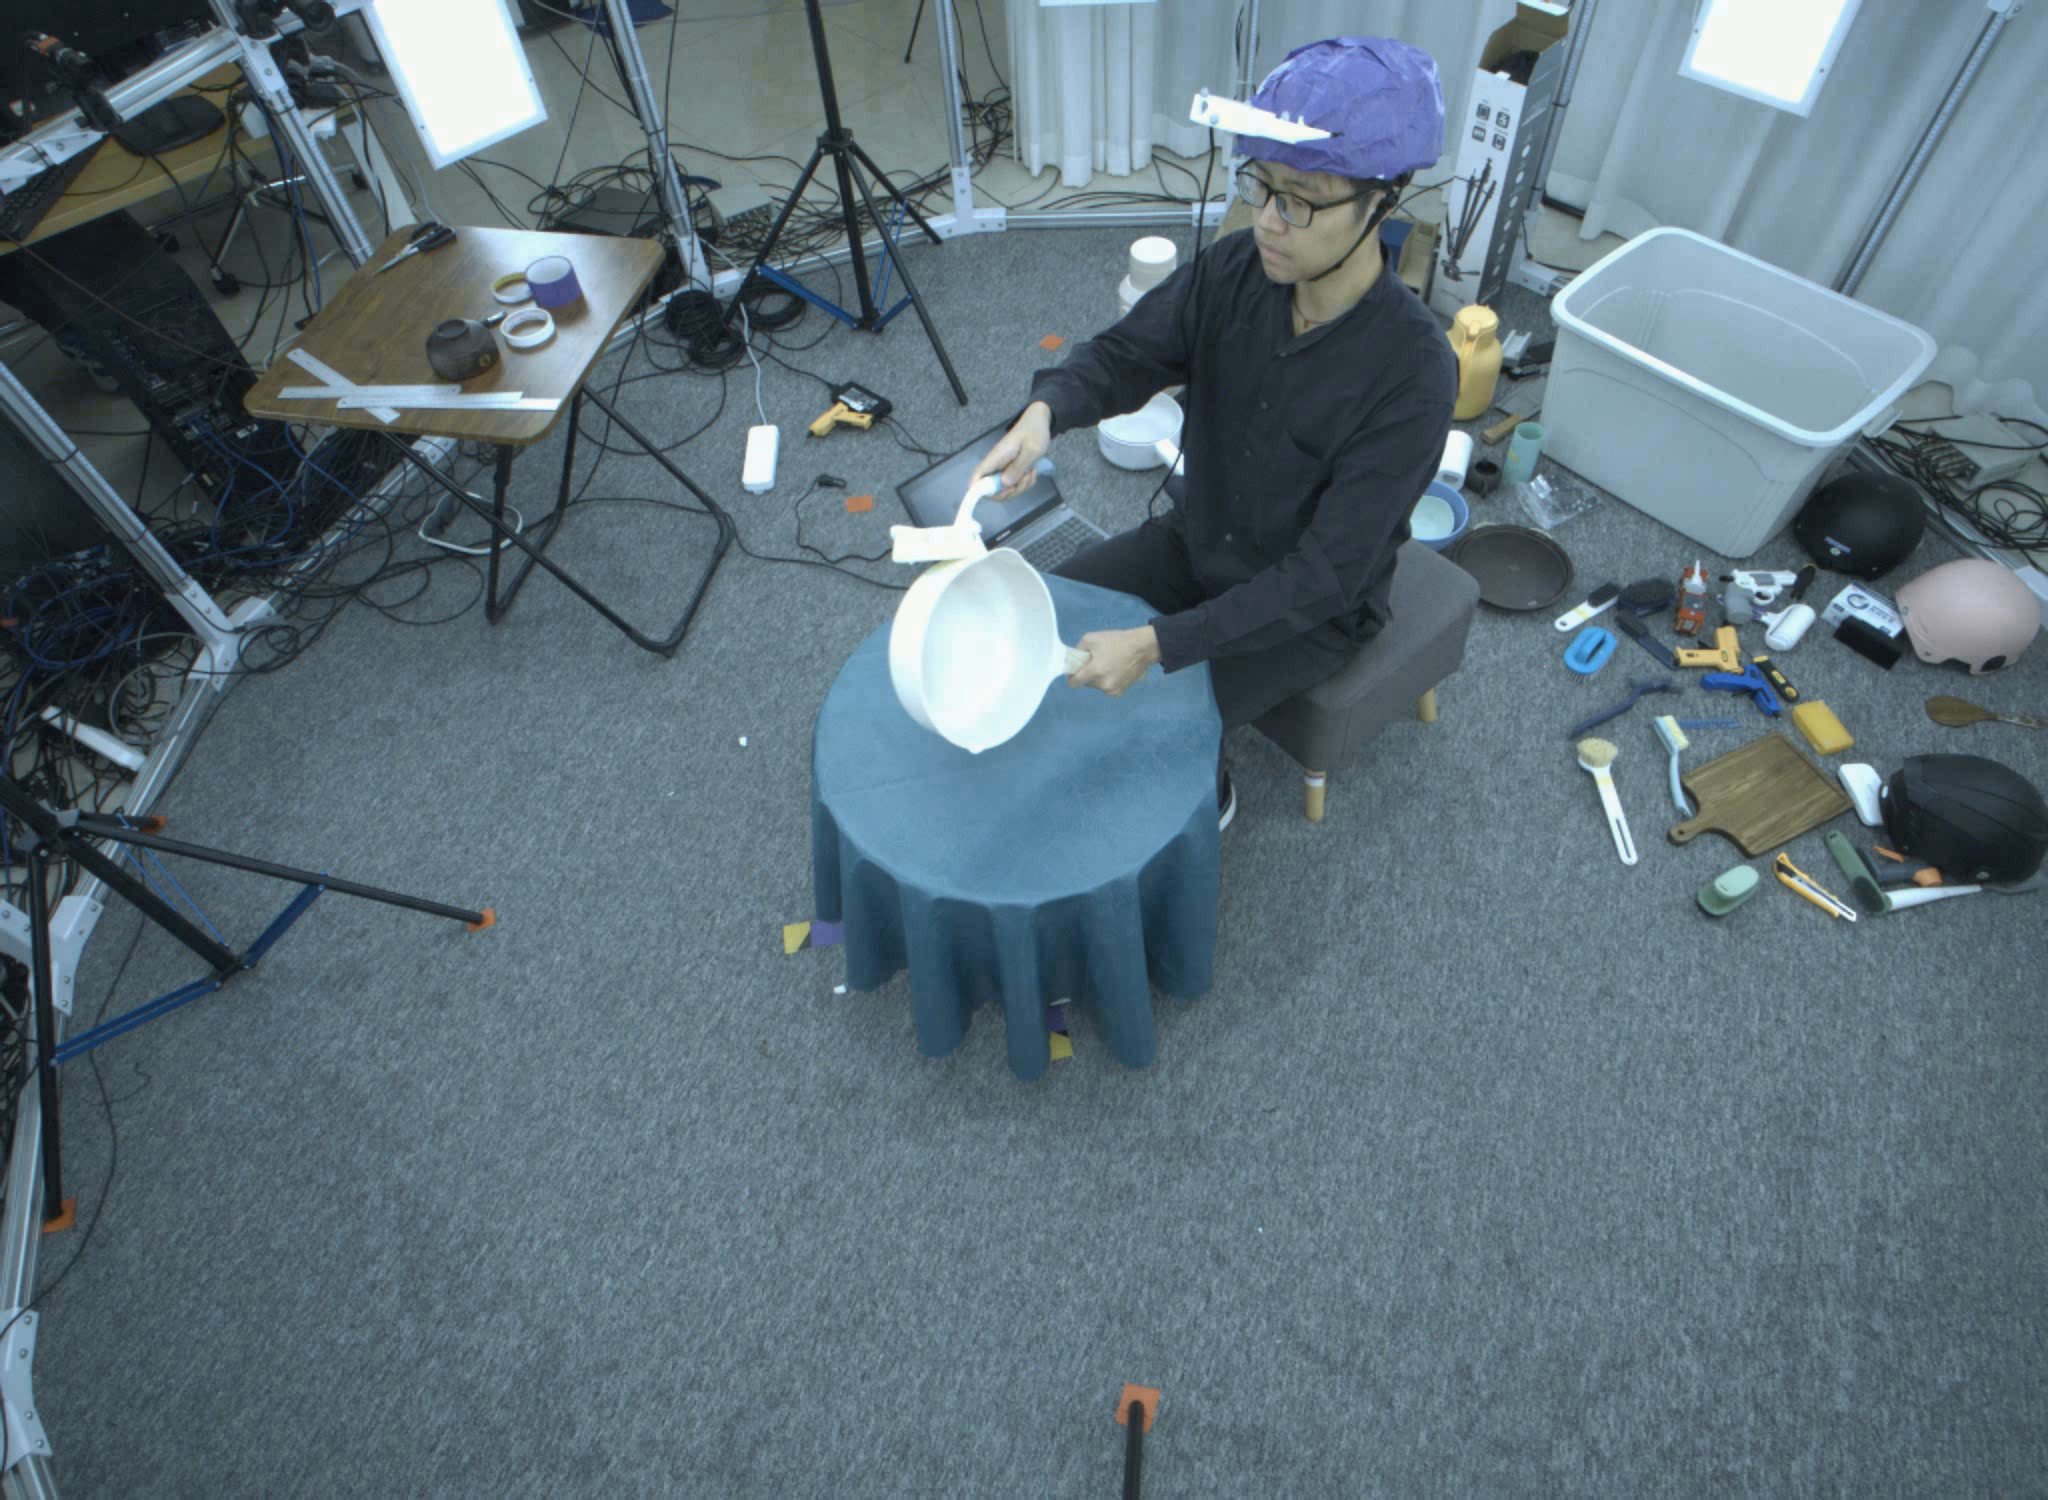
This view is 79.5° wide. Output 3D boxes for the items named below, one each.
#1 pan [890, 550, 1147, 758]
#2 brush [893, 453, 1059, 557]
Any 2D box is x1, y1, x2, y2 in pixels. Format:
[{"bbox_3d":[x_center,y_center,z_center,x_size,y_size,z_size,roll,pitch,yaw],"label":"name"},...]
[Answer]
[{"bbox_3d":[-0.003,-0.125,1.637,0.099,0.264,0.444,13,9,39],"label":"pan"},{"bbox_3d":[-0.047,-0.298,1.571,0.082,0.084,0.329,39,43,17],"label":"brush"}]
